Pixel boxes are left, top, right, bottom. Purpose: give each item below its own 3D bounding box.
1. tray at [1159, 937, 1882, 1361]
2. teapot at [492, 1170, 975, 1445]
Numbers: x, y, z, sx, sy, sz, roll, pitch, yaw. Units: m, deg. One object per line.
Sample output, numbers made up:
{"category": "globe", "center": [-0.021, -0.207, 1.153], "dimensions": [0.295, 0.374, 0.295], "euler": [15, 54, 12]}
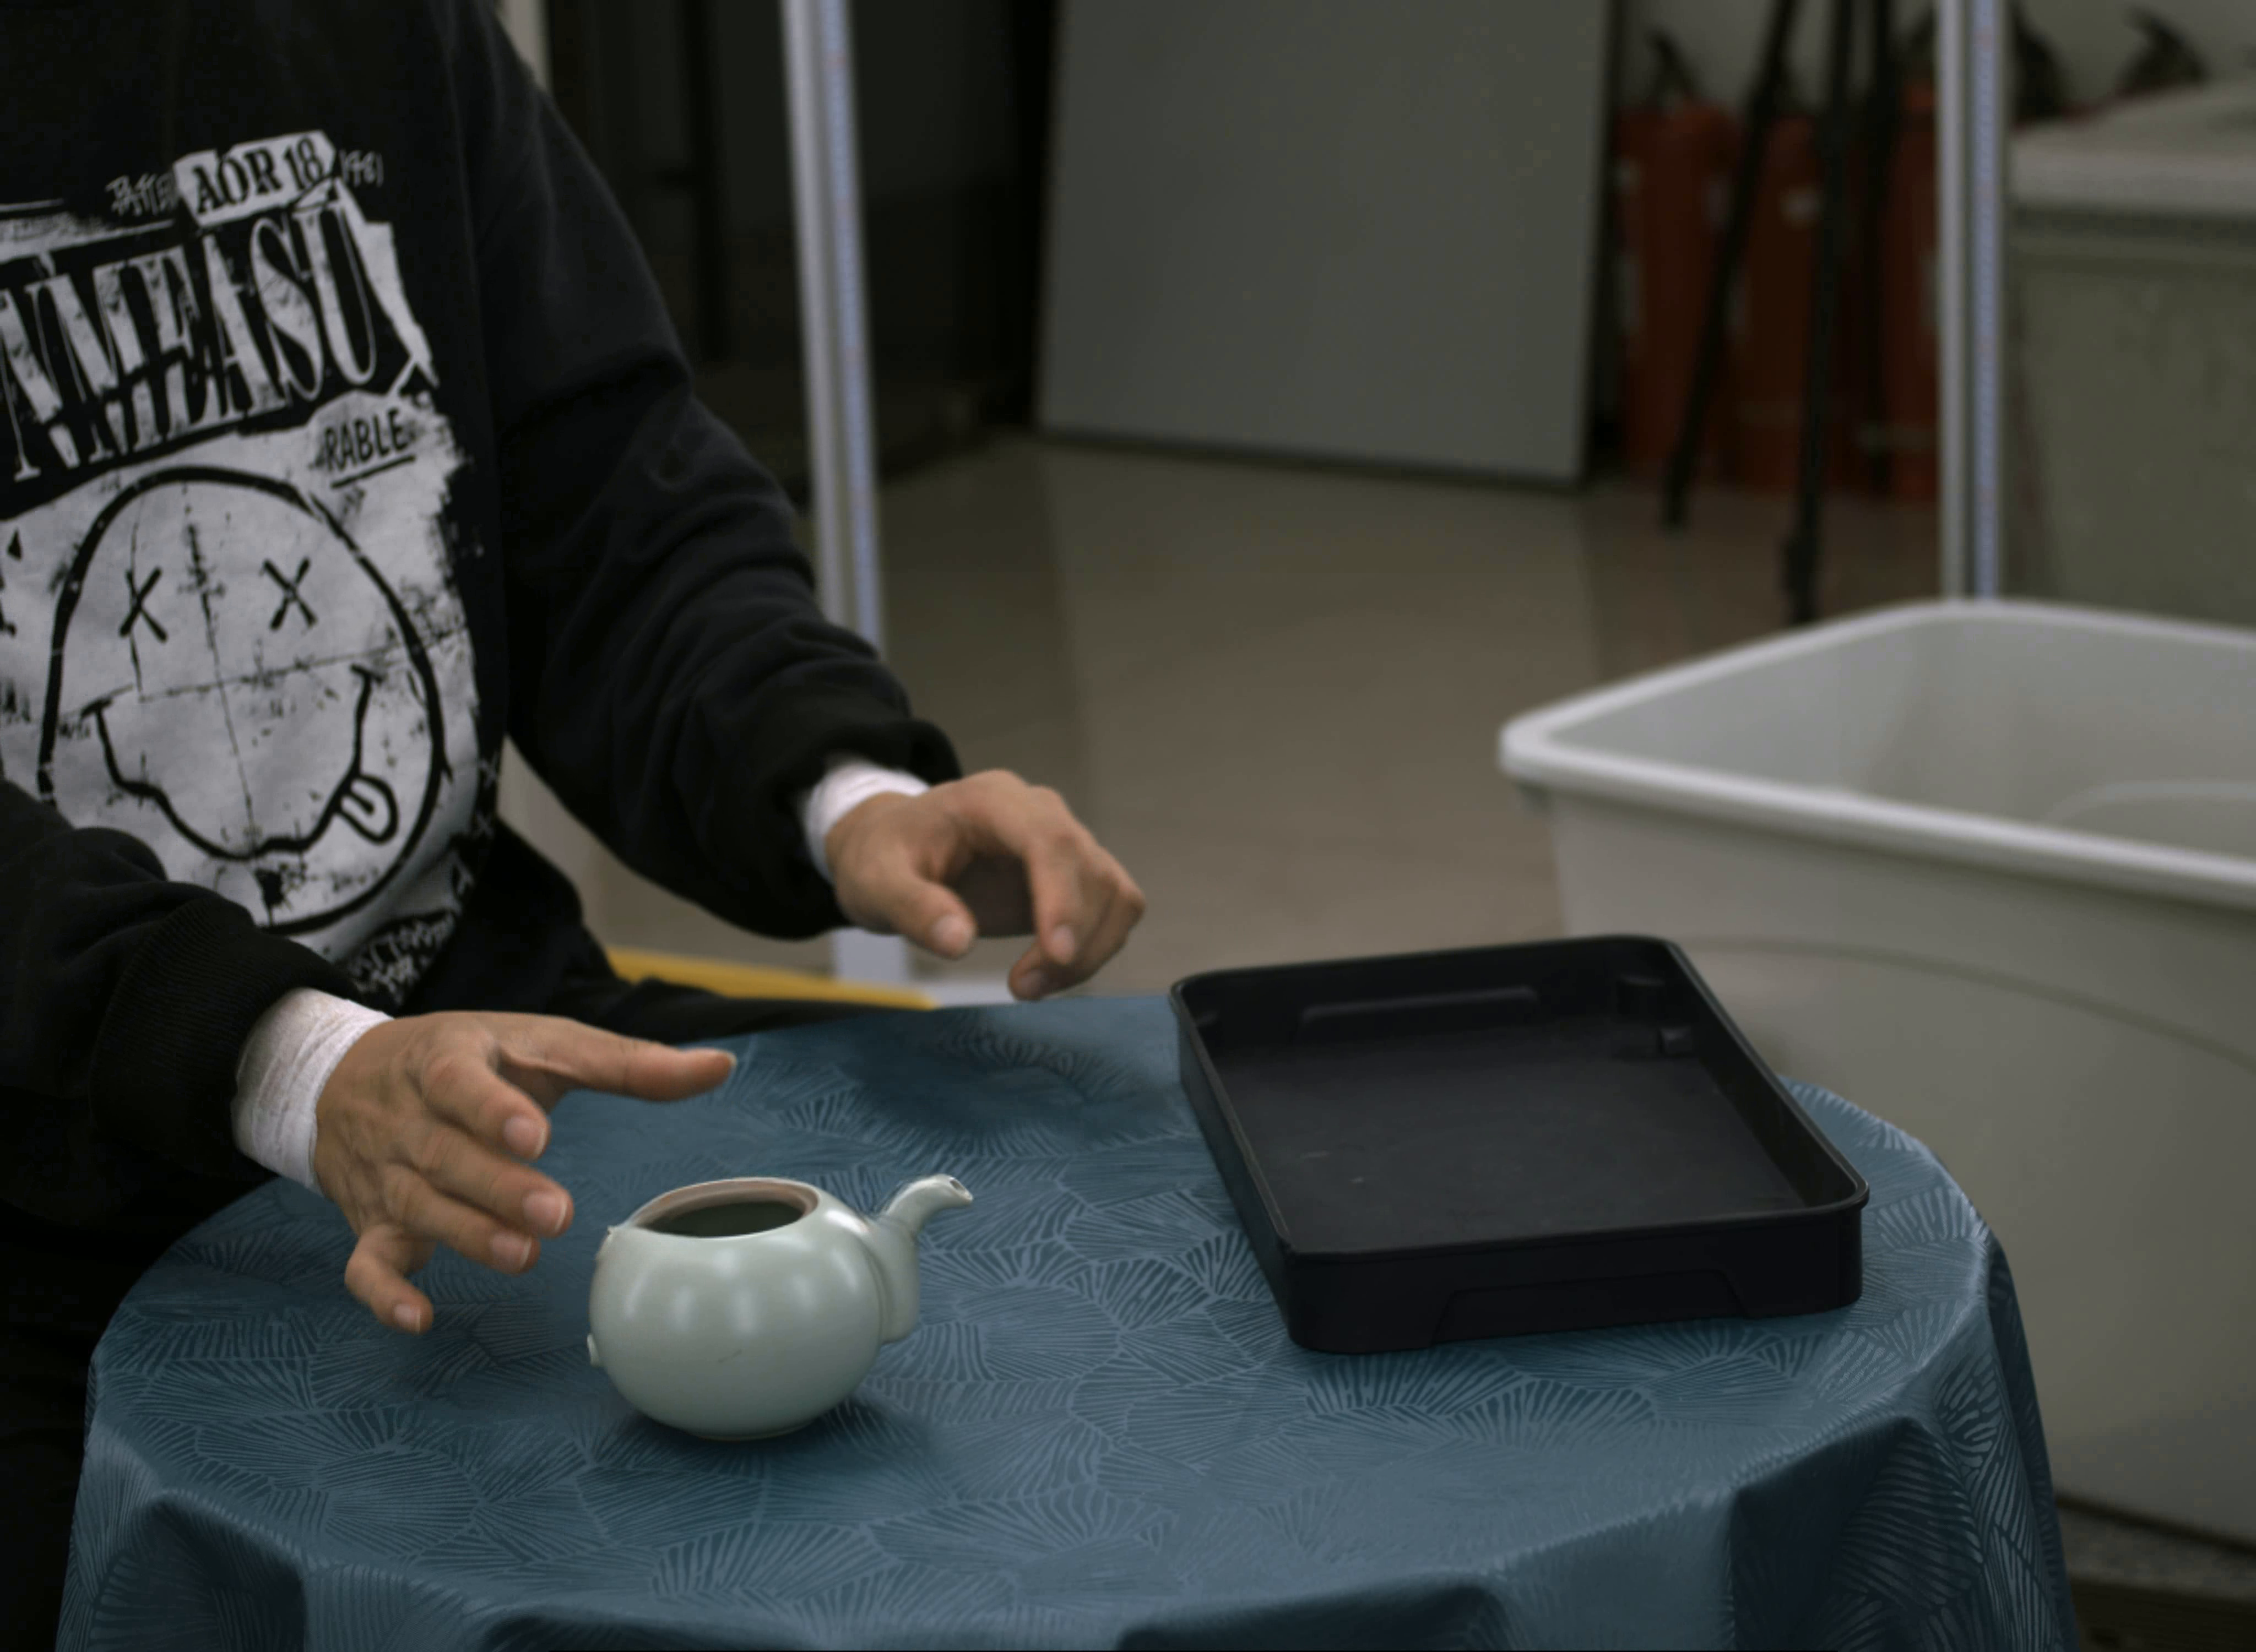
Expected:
{"category": "tray", "center": [0.120, 0.100, 1.749], "dimensions": [0.181, 0.037, 0.319], "euler": [-6, 14, -6]}
{"category": "teapot", "center": [-0.114, 0.140, 1.582], "dimensions": [0.142, 0.075, 0.088], "euler": [-2, 14, 4]}
